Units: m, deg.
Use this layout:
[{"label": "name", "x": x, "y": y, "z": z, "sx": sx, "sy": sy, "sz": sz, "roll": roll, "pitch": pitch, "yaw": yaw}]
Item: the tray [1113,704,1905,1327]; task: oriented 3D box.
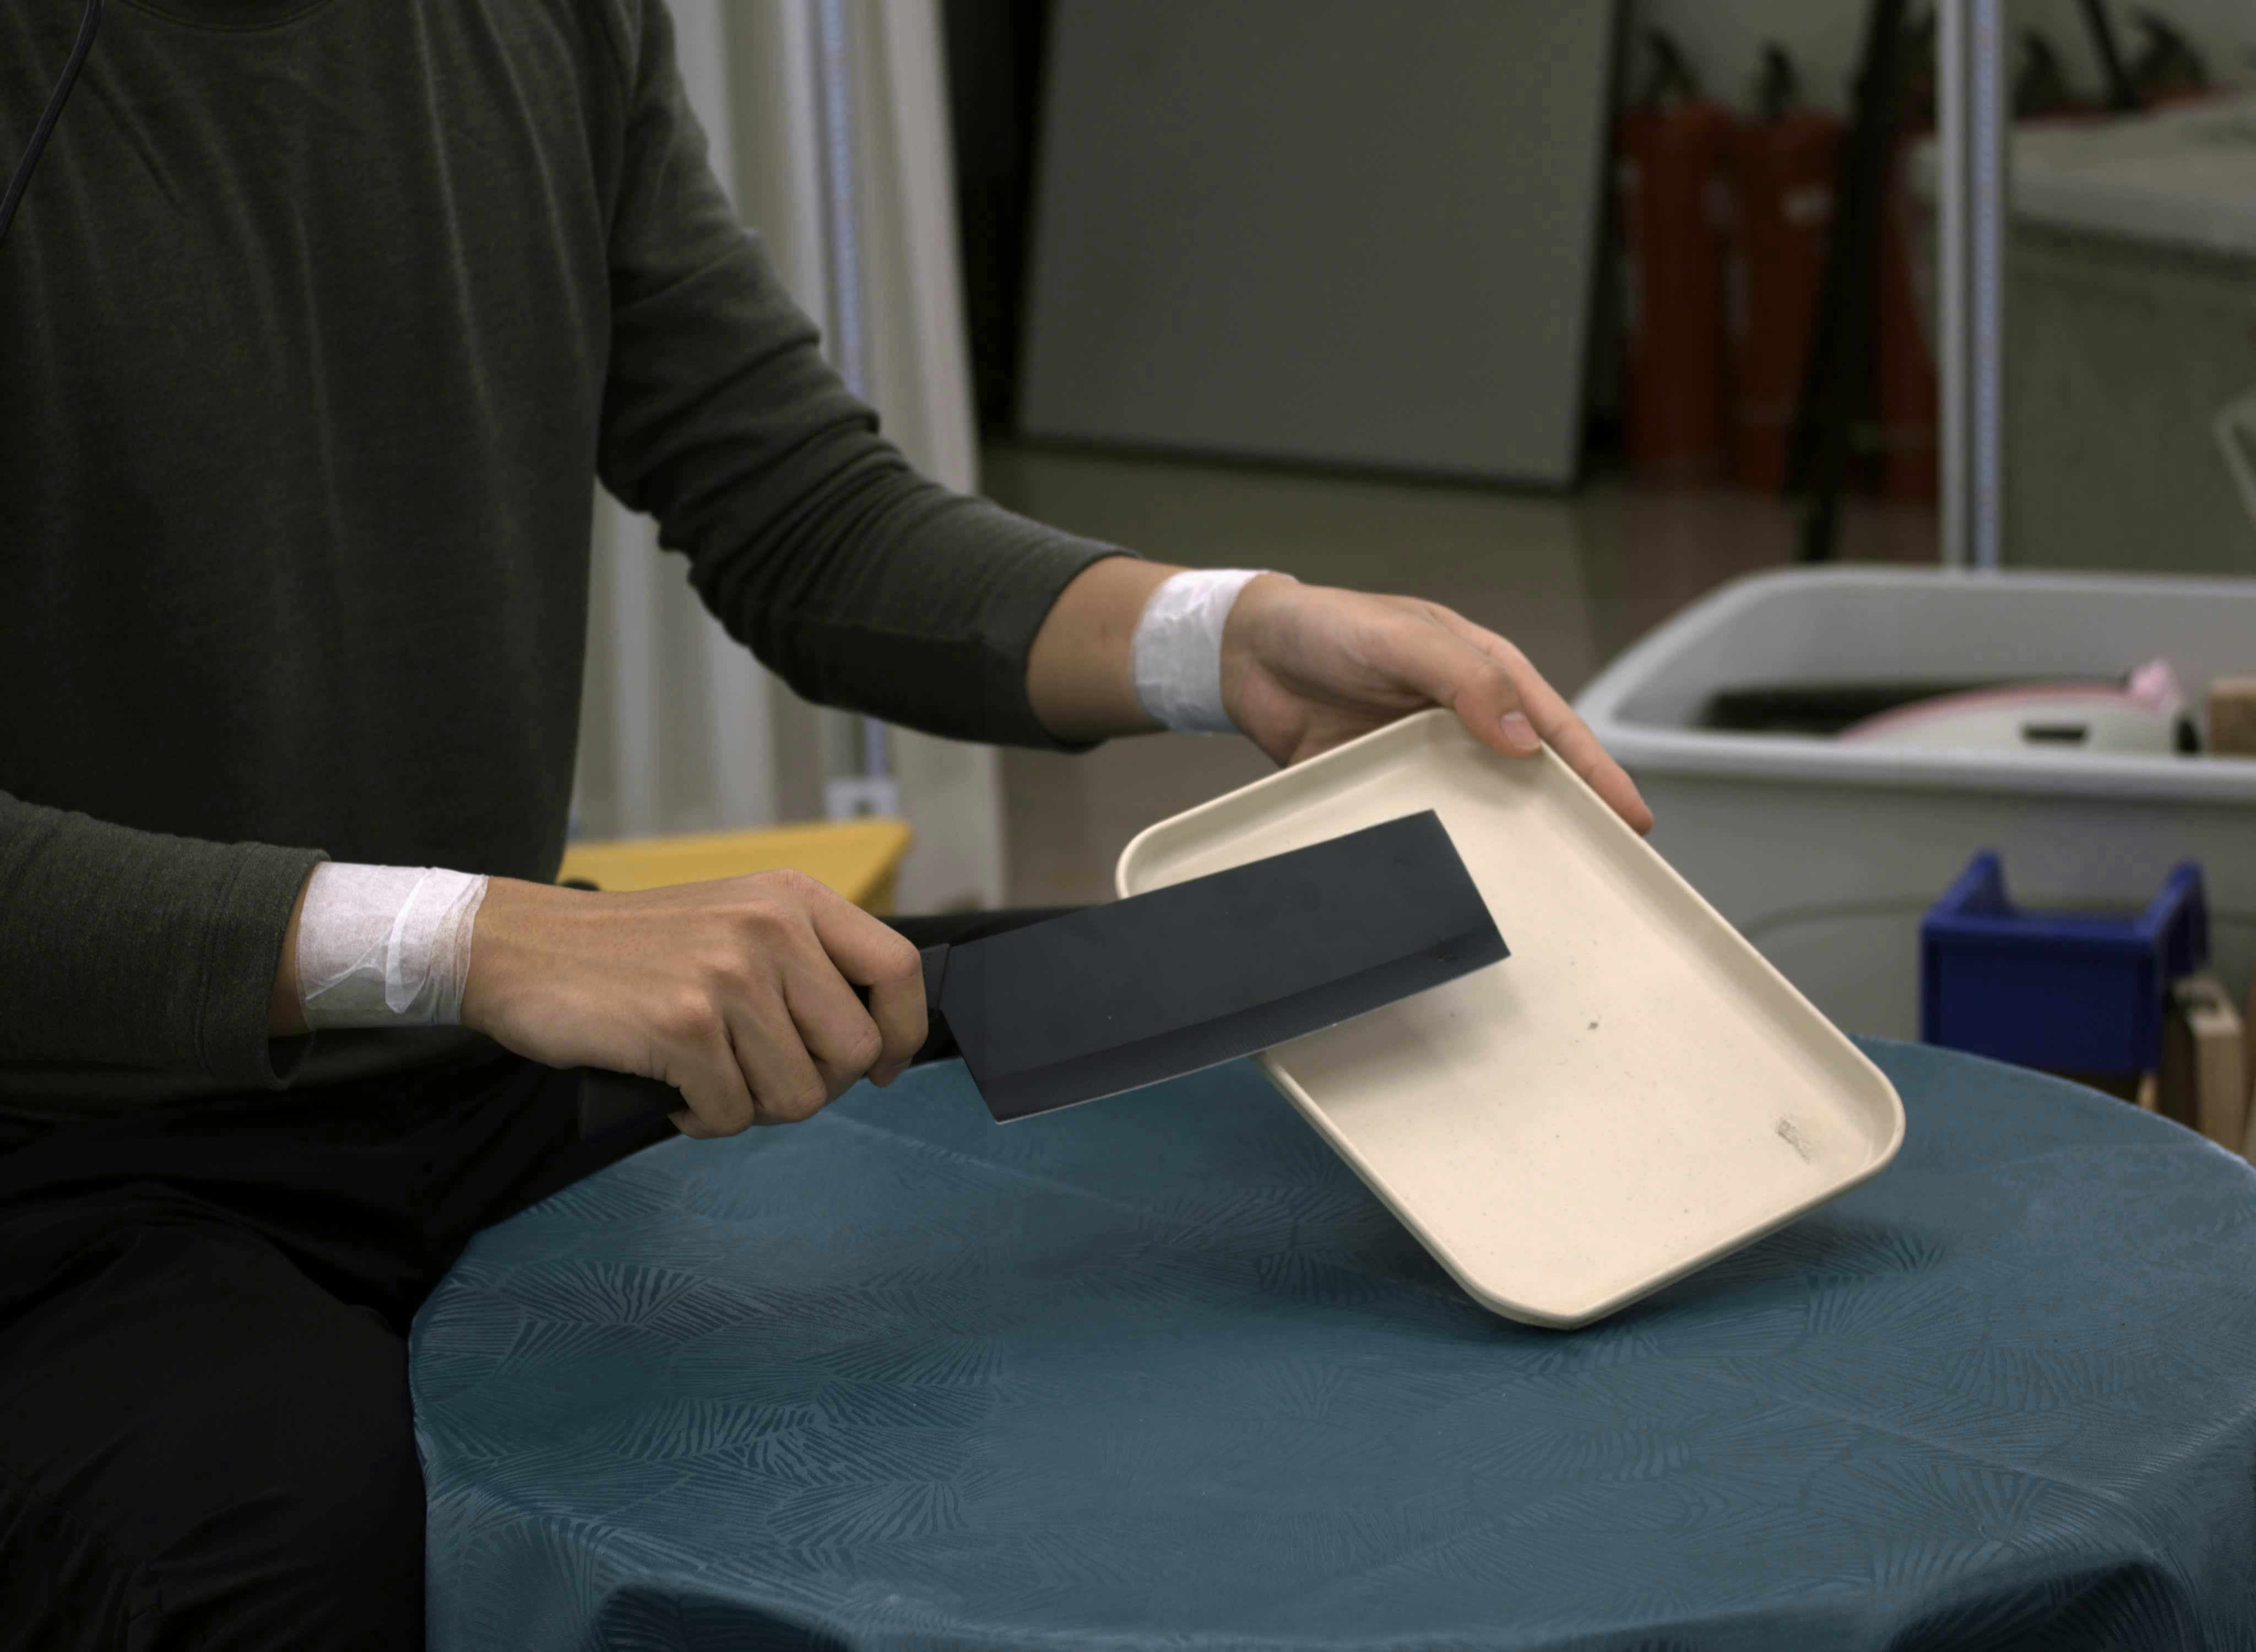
[{"label": "tray", "x": 0.118, "y": 0.058, "z": 1.703, "sx": 0.168, "sy": 0.017, "sz": 0.242, "roll": -23, "pitch": 50, "yaw": -27}]

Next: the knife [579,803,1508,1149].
[{"label": "knife", "x": -0.027, "y": 0.054, "z": 1.663, "sx": 0.297, "sy": 0.021, "sz": 0.082, "roll": -13, "pitch": 55, "yaw": -14}]
